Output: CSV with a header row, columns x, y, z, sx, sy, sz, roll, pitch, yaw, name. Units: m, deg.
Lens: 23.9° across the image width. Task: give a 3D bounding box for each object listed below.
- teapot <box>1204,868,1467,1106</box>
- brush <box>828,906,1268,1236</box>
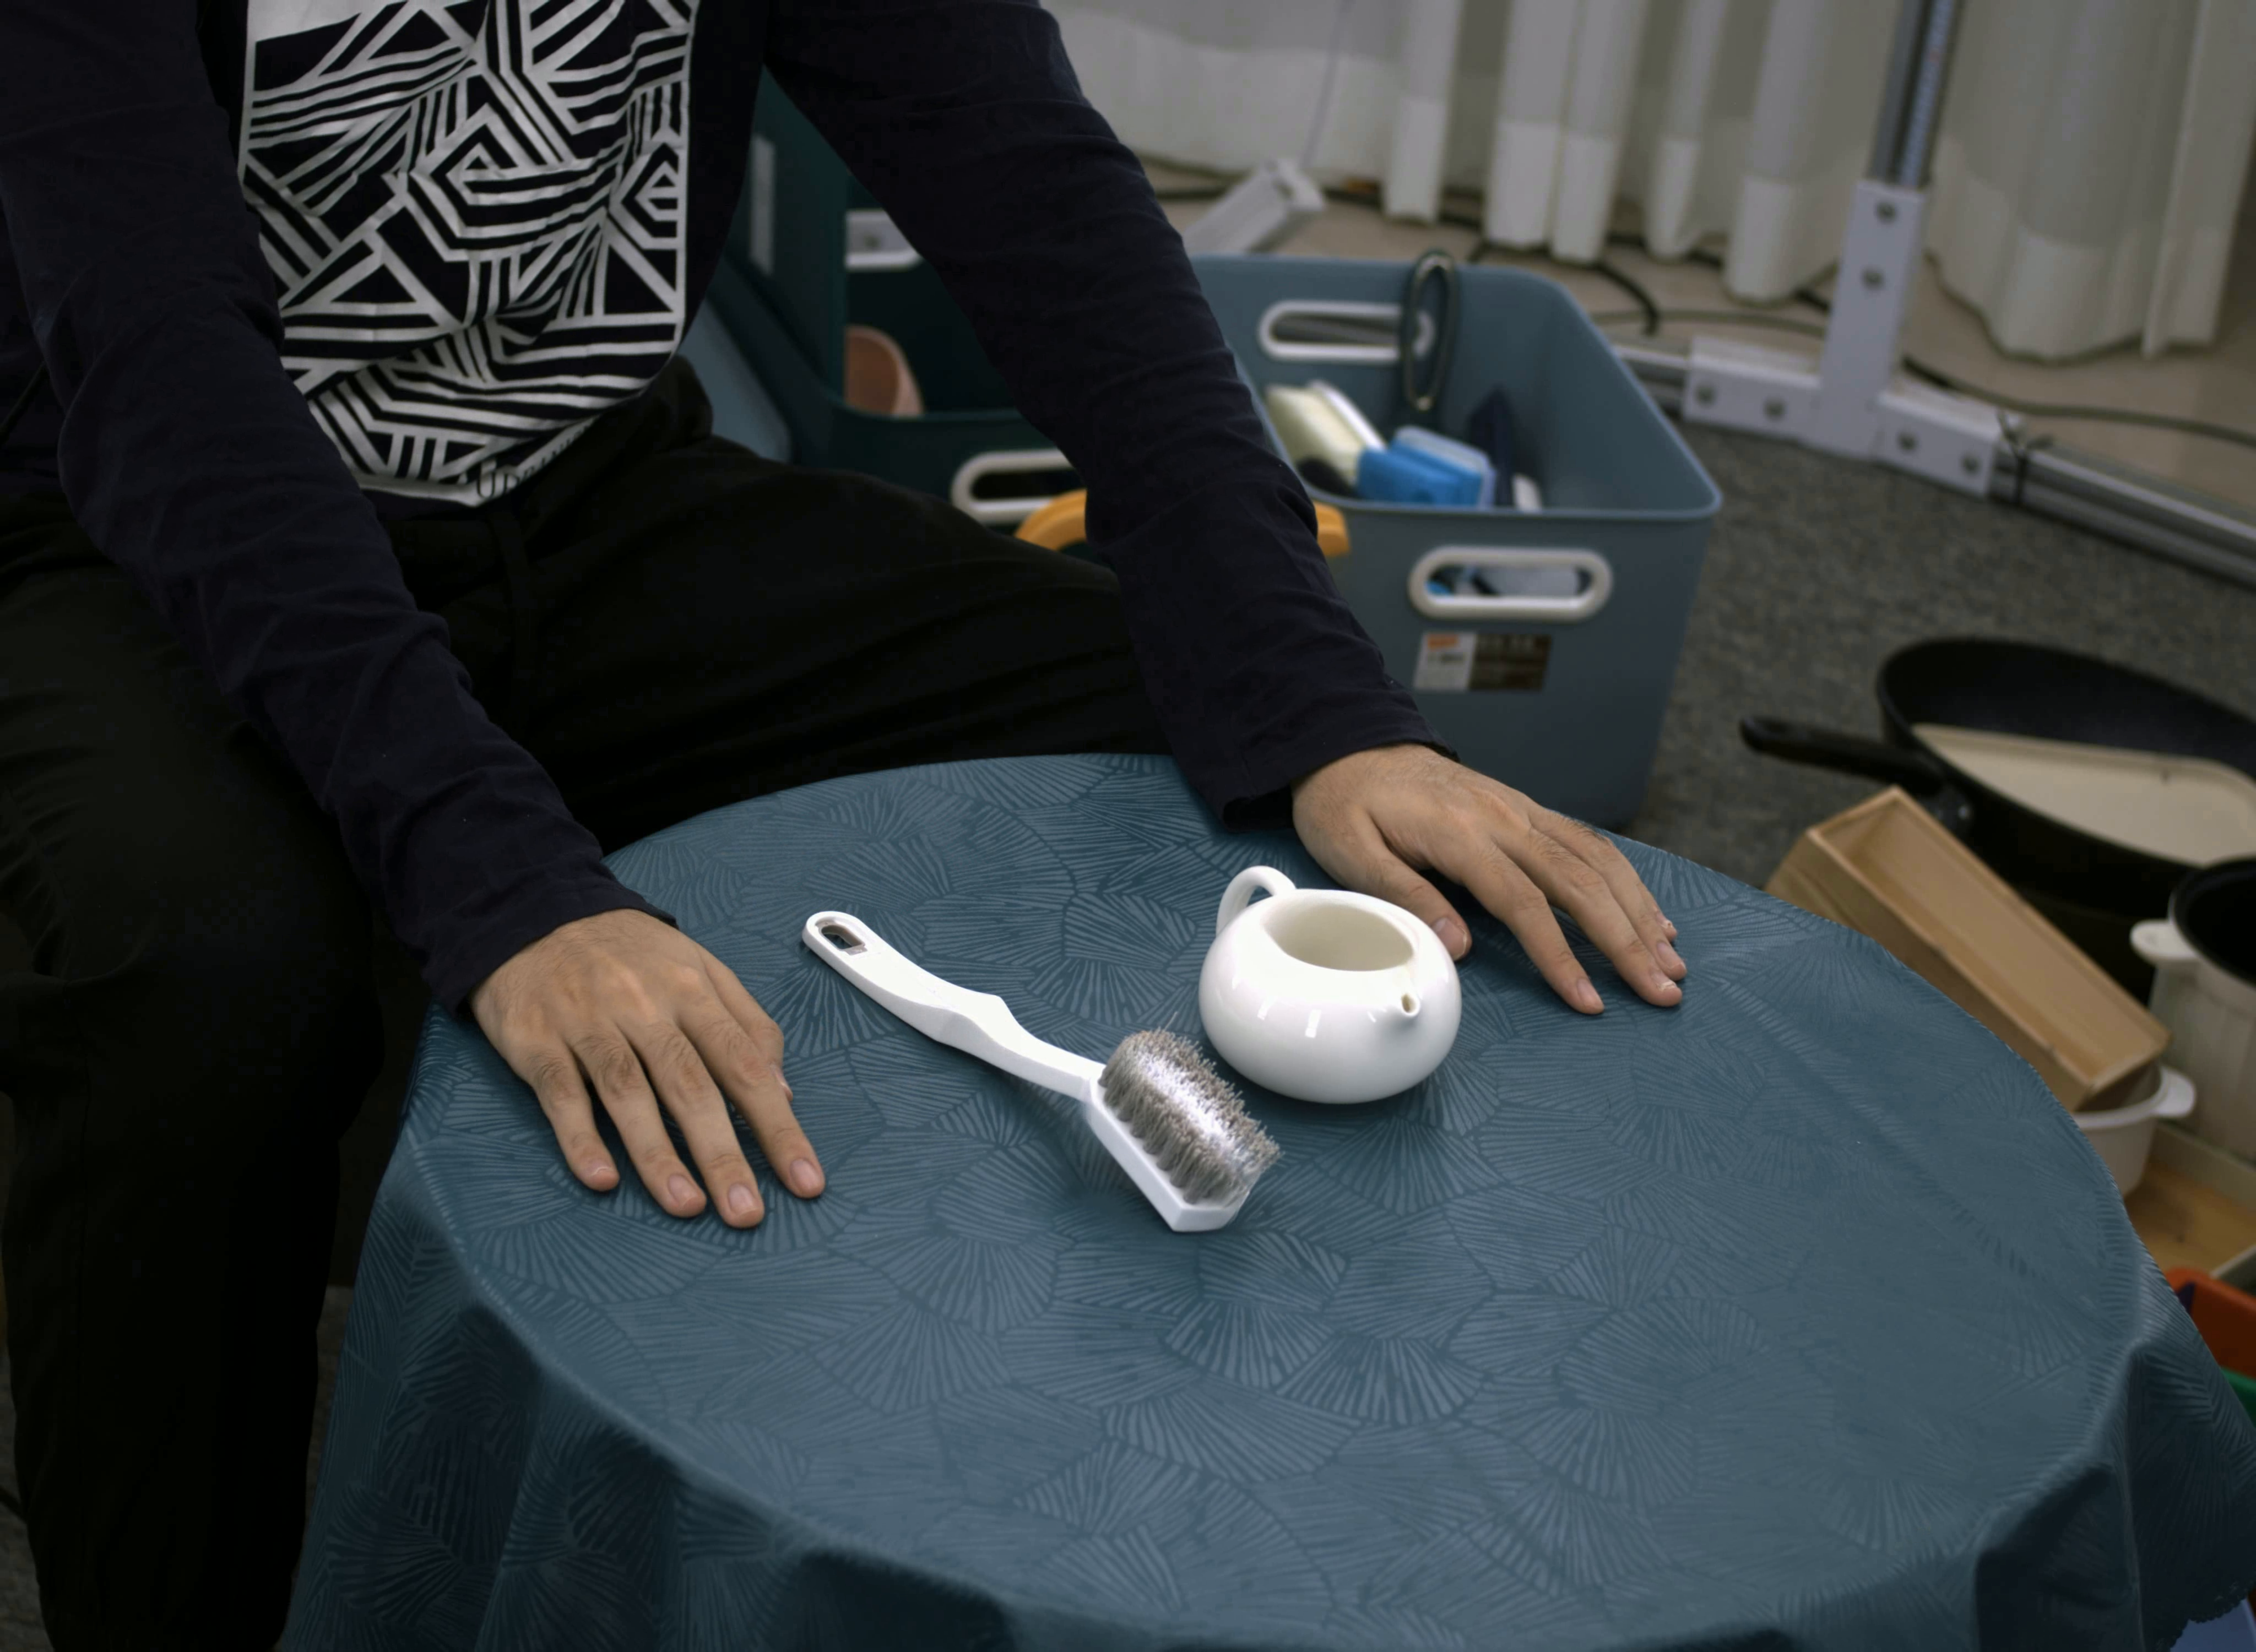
x,y,z,sx,sy,sz,roll,pitch,yaw,name
0.068,0.057,1.894,0.093,0.056,0.128,-15,32,-28,teapot
-0.033,0.068,1.856,0.034,0.050,0.246,-16,35,-31,brush
